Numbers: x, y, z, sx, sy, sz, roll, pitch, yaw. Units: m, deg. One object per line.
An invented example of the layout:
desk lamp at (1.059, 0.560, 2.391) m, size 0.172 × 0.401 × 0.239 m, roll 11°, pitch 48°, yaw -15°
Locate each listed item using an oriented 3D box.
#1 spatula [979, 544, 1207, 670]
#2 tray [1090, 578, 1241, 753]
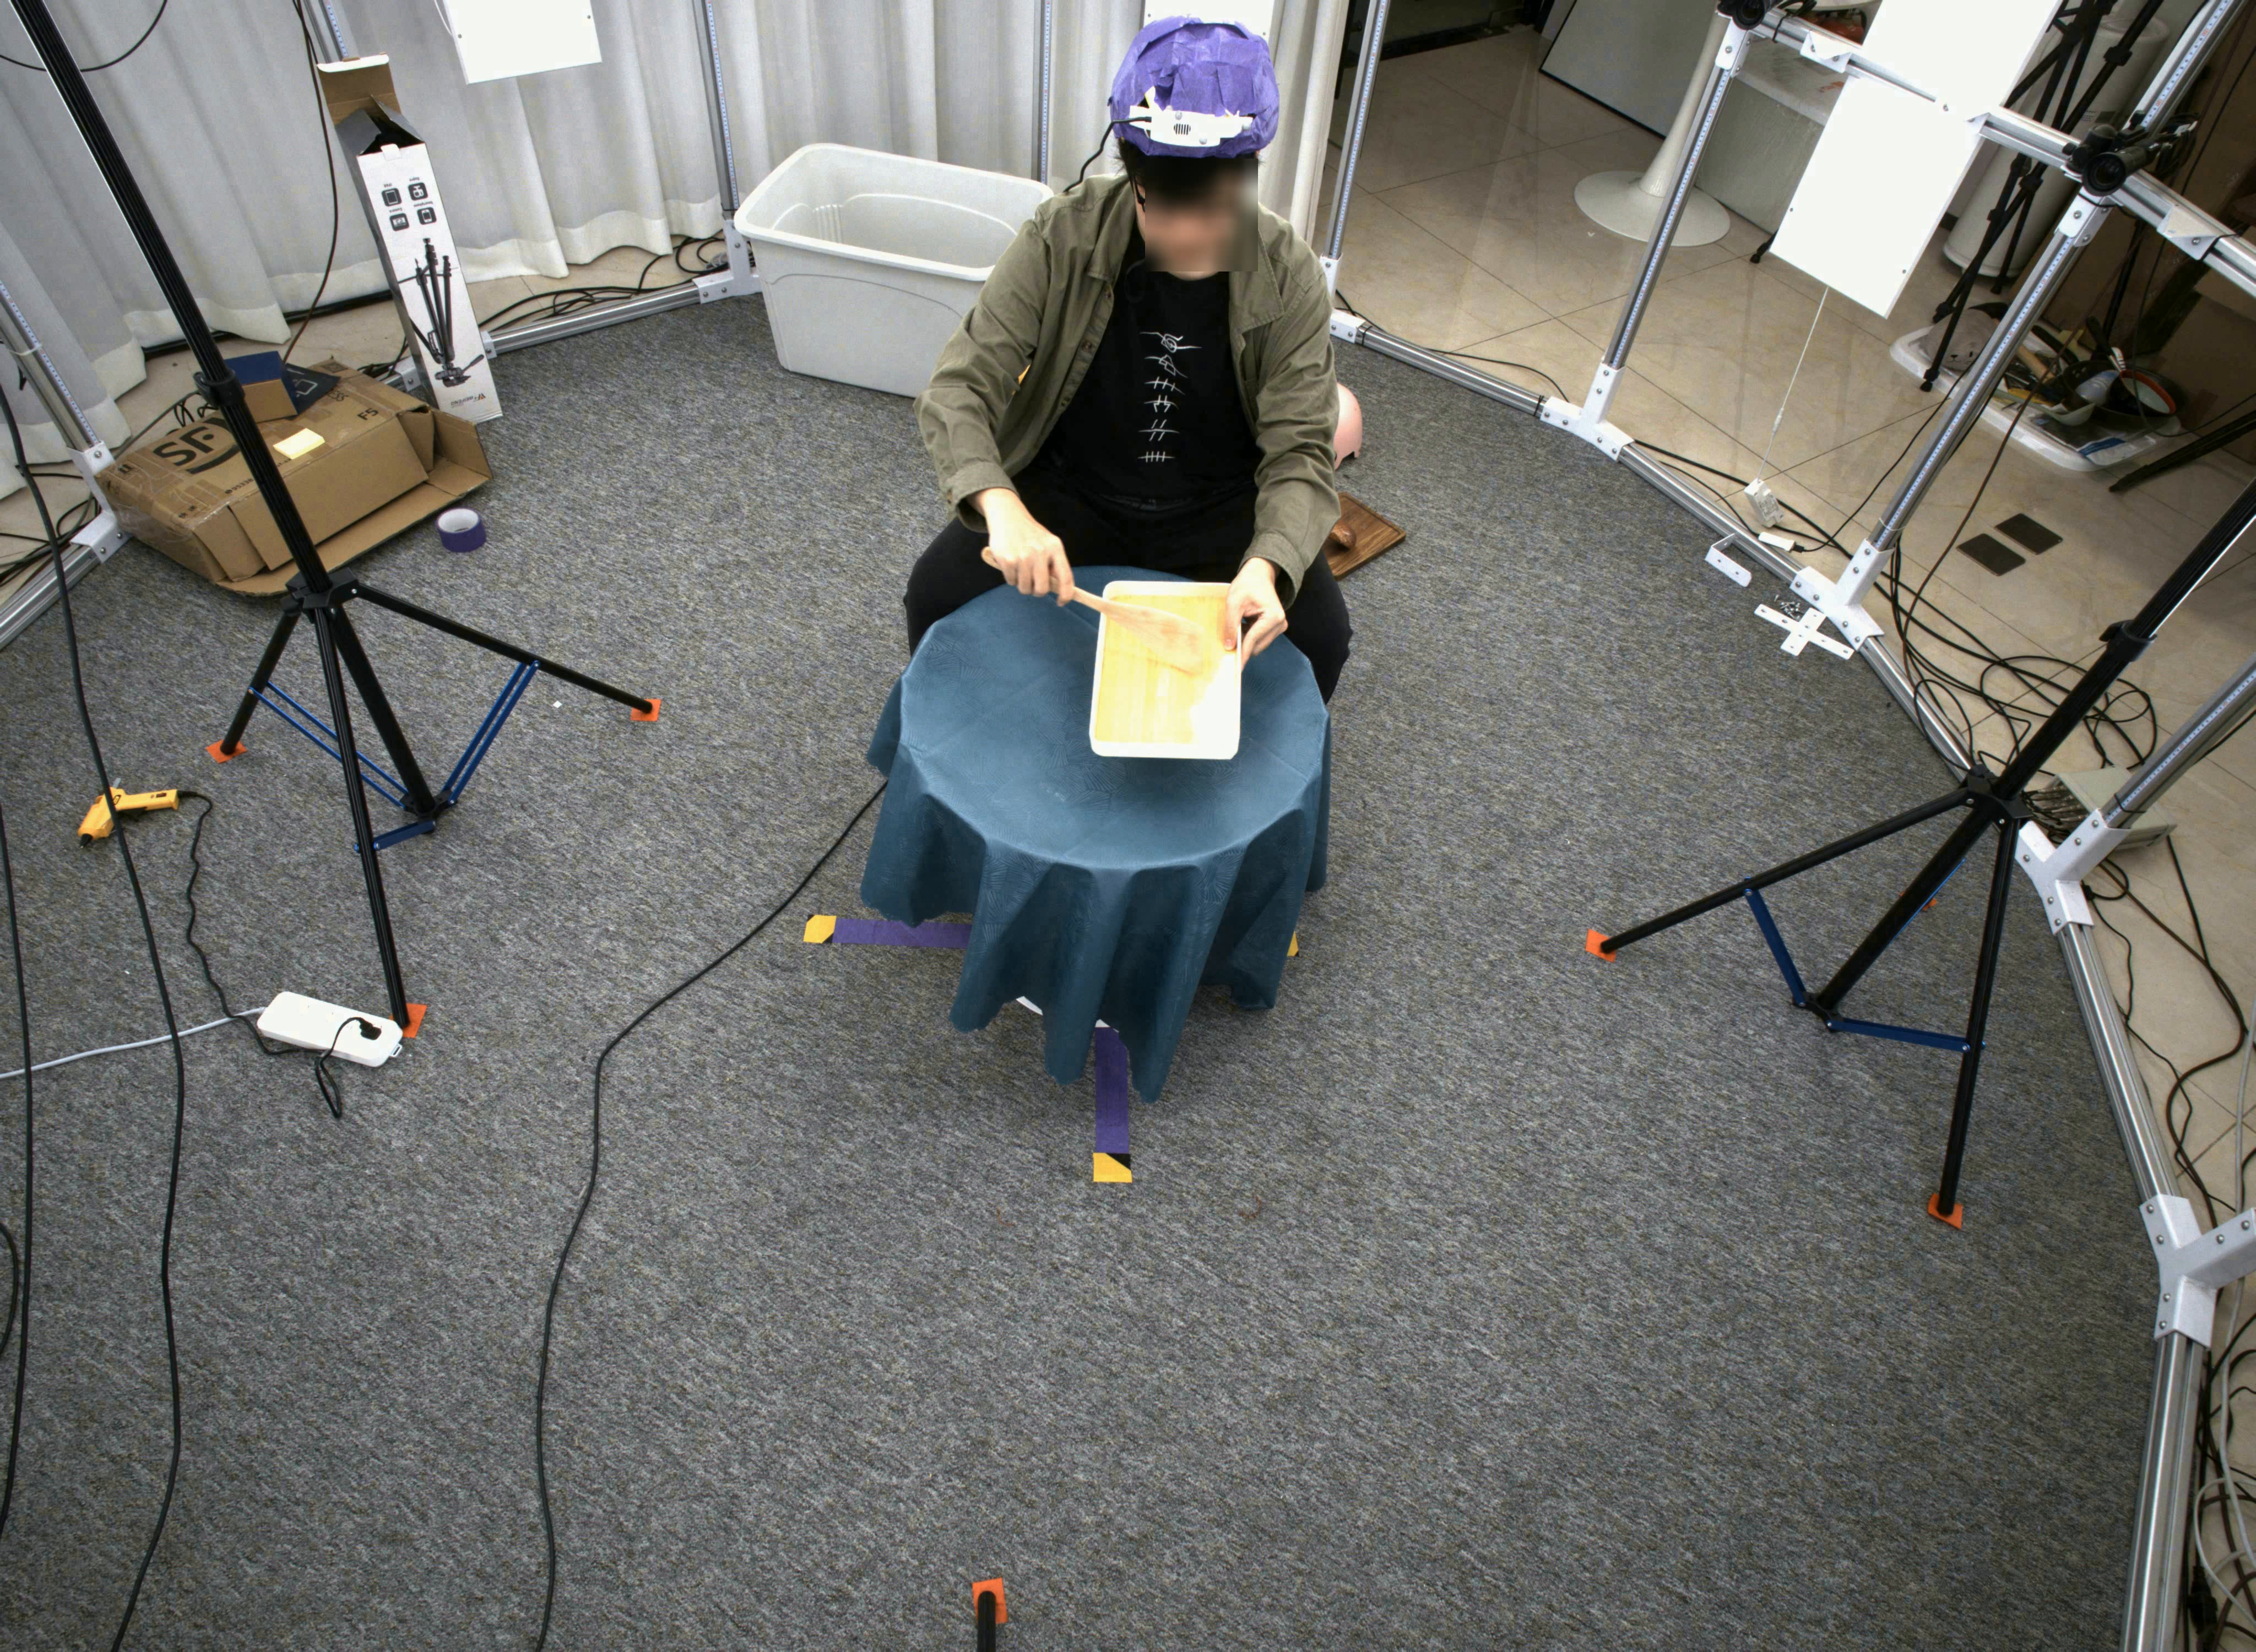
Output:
spatula at (-0.045, -0.296, 1.682) m, size 0.328 × 0.078 × 0.017 m, roll 23°, pitch 47°, yaw 2°
tray at (0.054, -0.219, 1.703) m, size 0.191 × 0.027 × 0.307 m, roll 2°, pitch 50°, yaw 3°
